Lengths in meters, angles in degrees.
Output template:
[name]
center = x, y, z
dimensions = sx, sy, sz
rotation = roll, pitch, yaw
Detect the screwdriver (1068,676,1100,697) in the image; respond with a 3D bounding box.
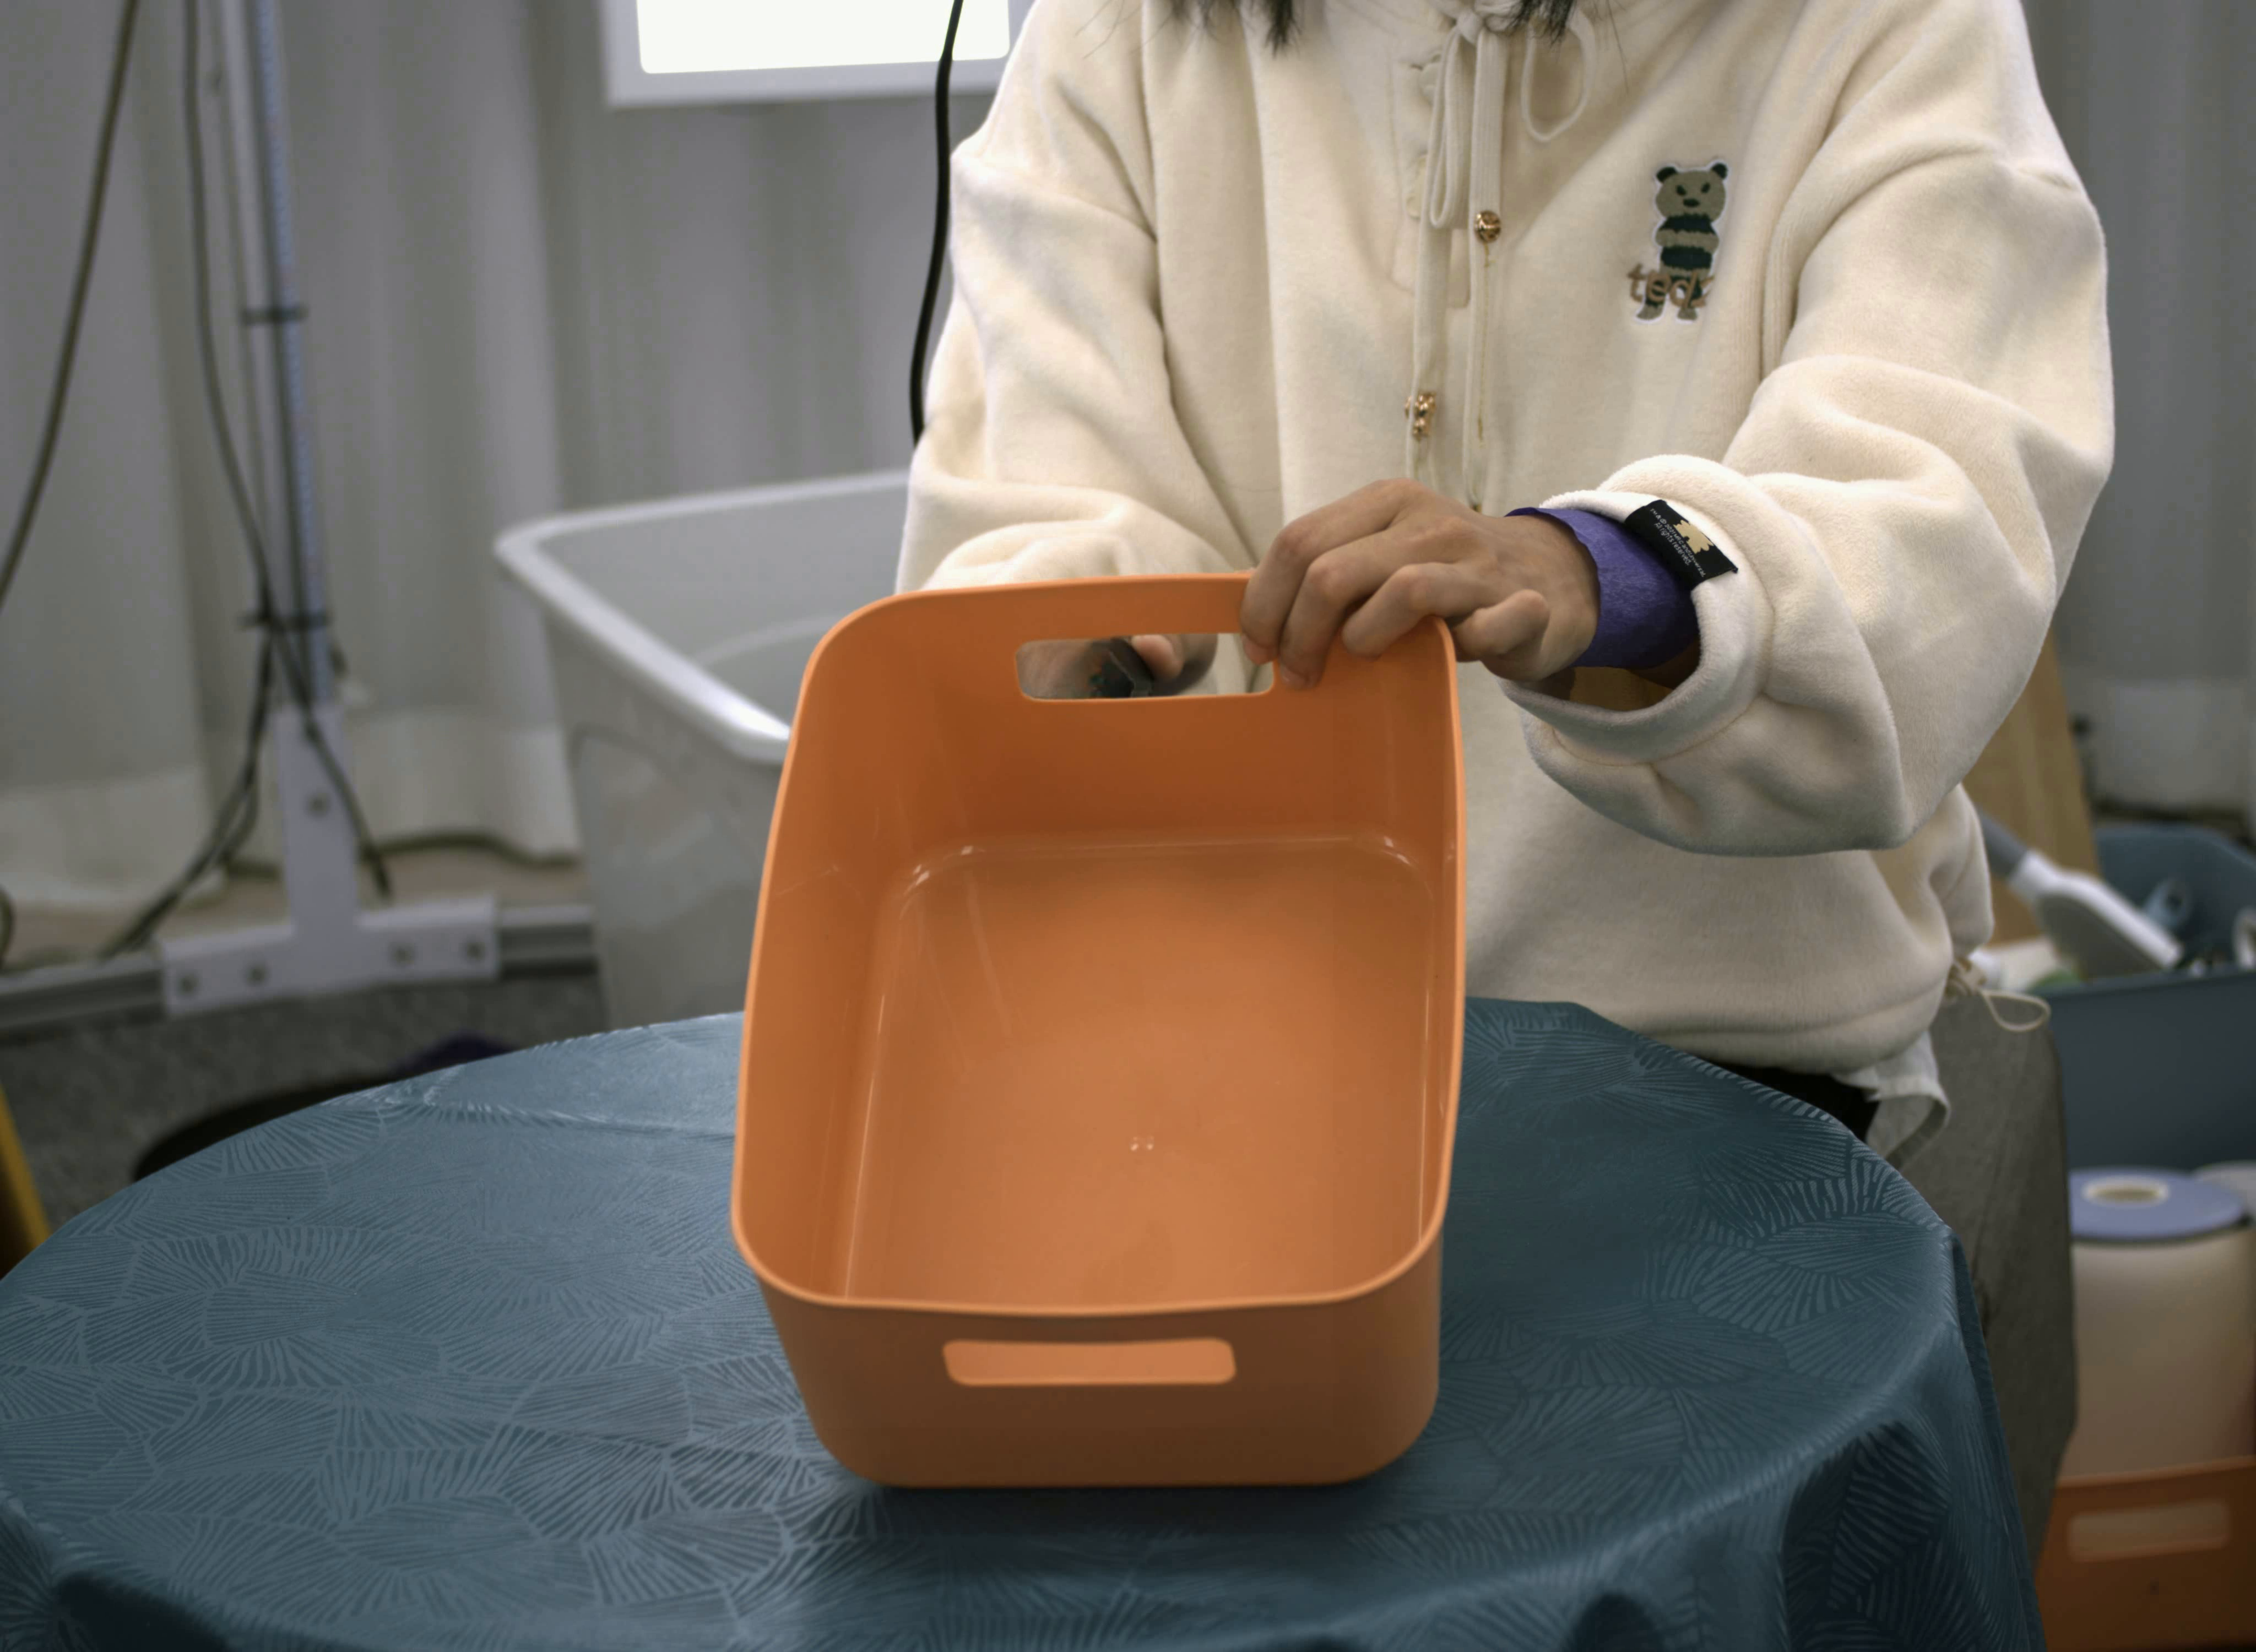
[screwdriver]
center = -0.012, -0.041, 1.692
dimensions = 0.031, 0.031, 0.198
rotation = -1, 3, 5

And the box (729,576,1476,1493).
[box]
center = 0.001, 0.059, 1.524
dimensions = 0.199, 0.101, 0.277
rotation = -2, 45, 7
